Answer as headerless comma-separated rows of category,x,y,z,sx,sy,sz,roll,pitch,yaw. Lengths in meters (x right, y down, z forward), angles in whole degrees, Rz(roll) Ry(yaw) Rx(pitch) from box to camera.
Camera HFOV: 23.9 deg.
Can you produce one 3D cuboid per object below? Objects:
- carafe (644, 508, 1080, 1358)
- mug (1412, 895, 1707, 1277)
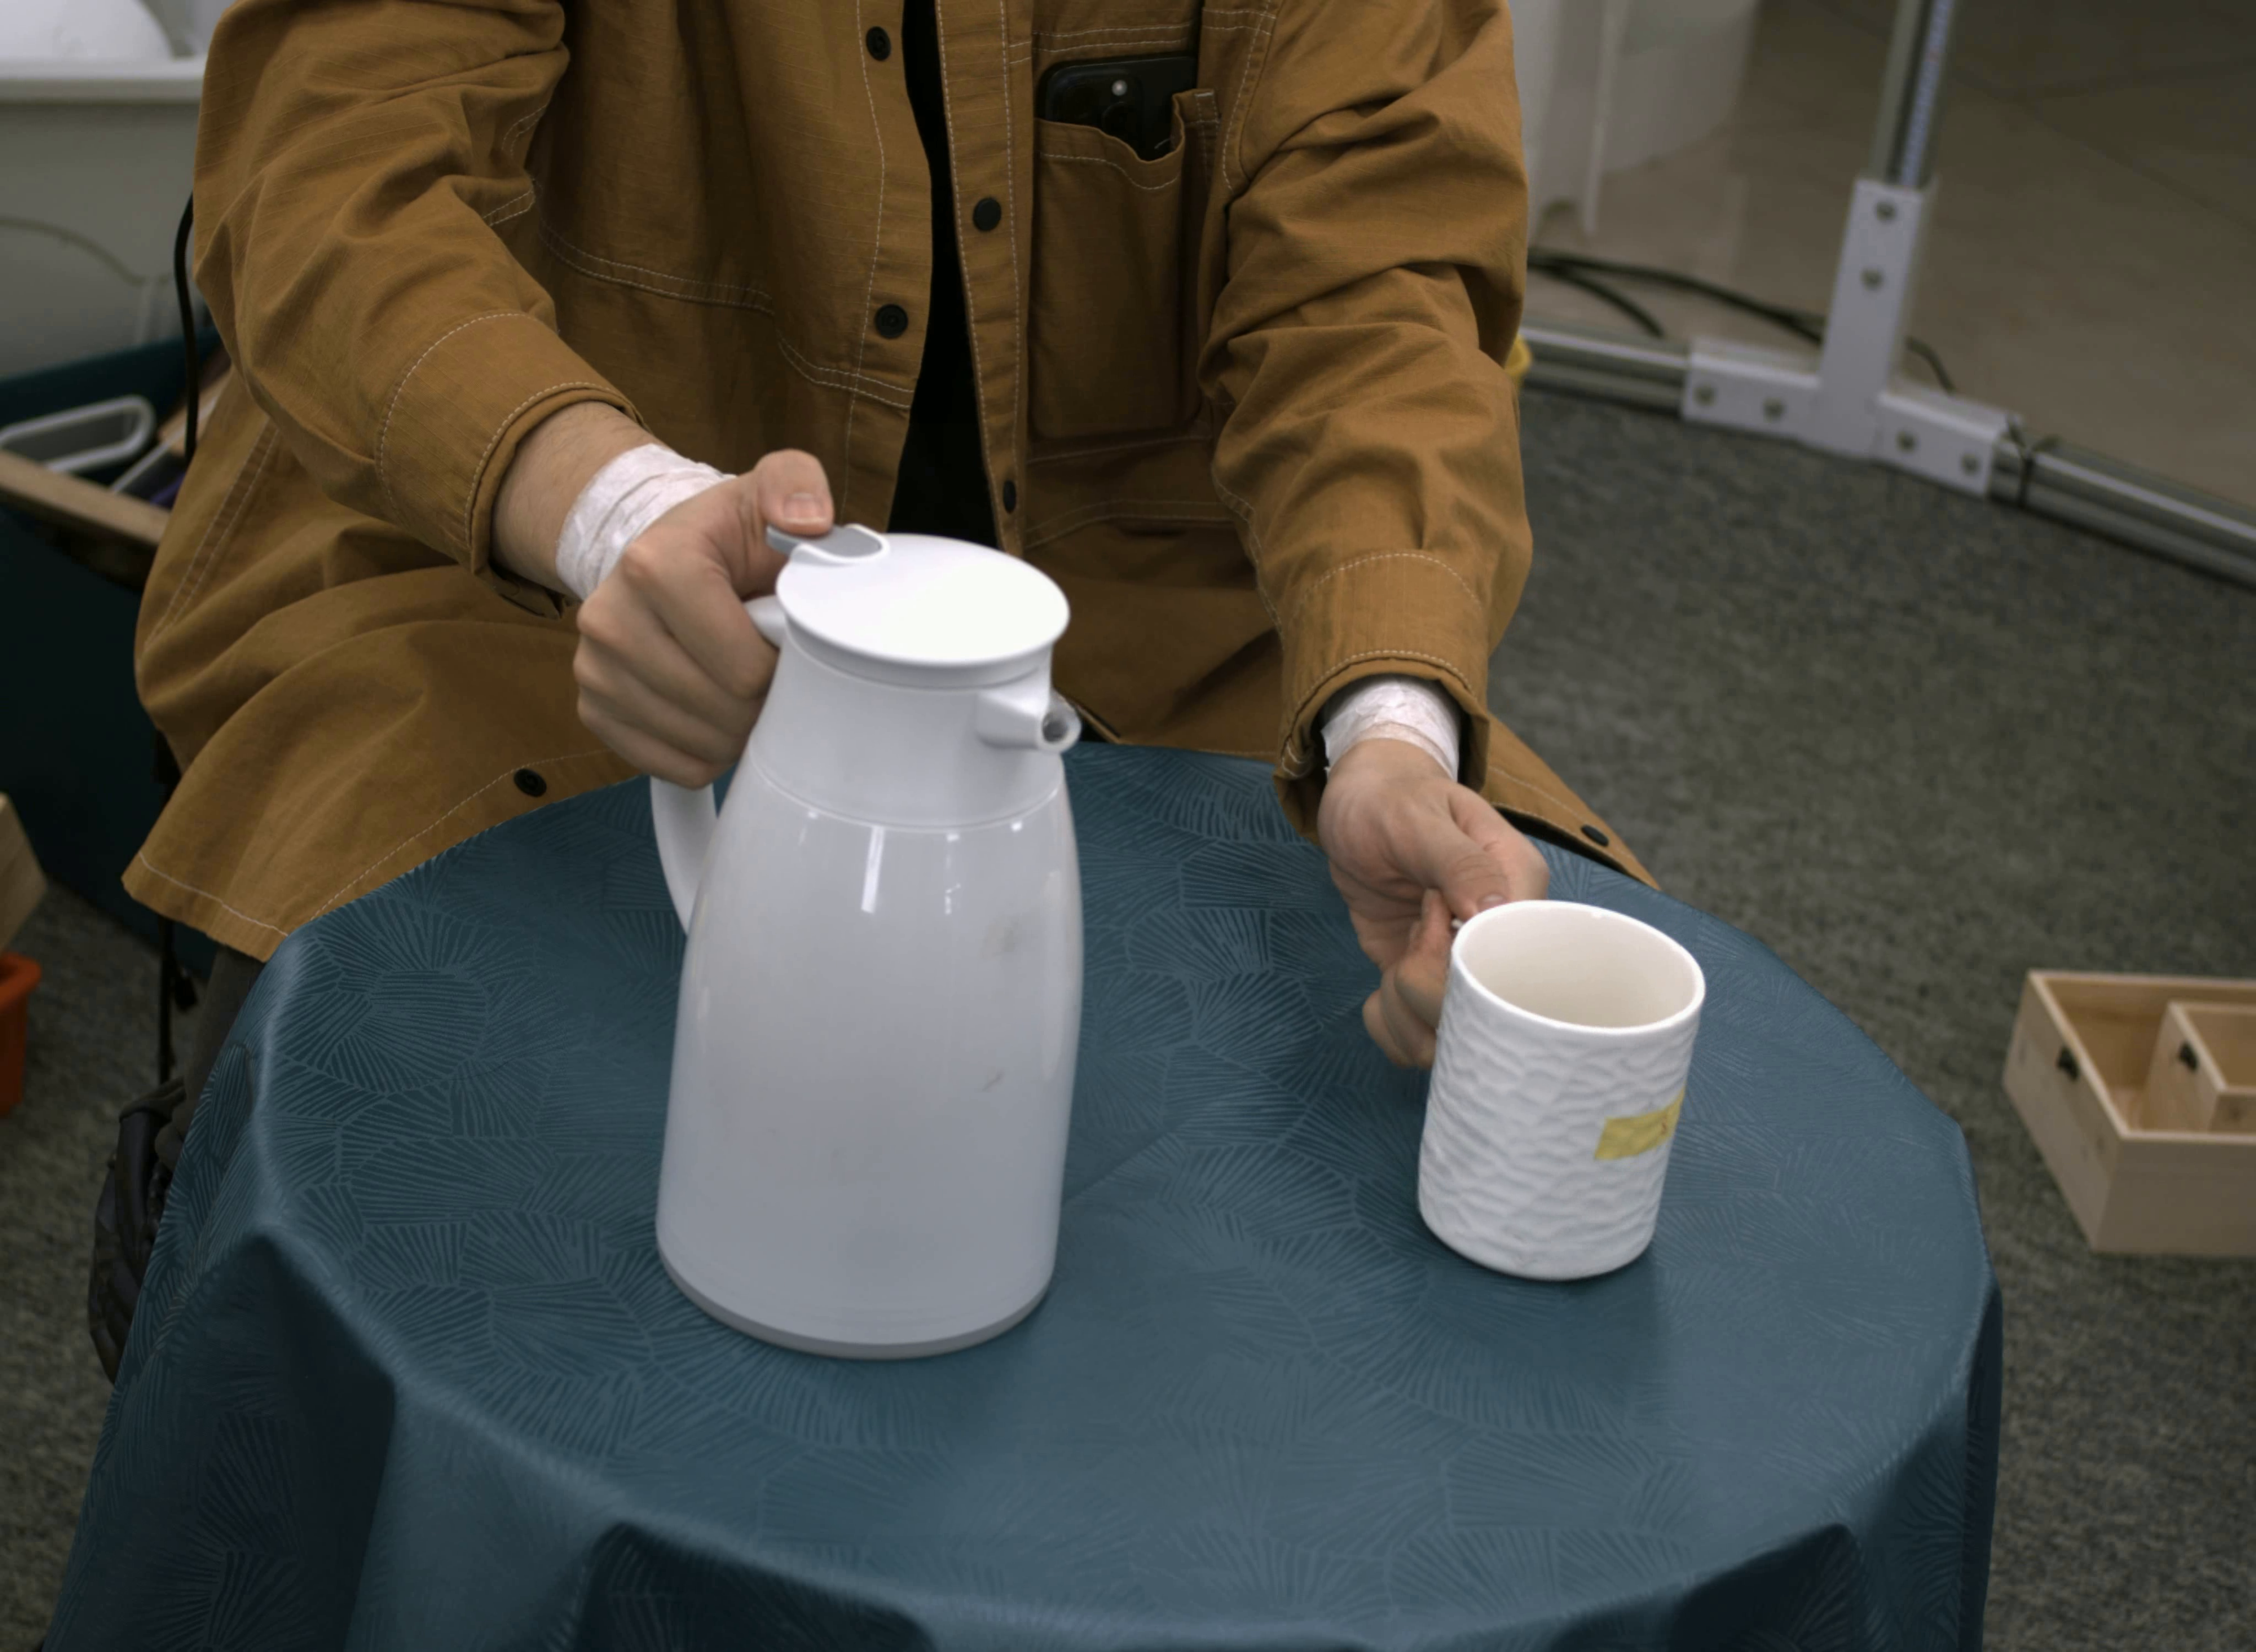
carafe,-0.093,0.024,1.707,0.169,0.248,0.132,26,33,34
mug,0.136,0.081,1.802,0.084,0.101,0.119,-7,31,-28
